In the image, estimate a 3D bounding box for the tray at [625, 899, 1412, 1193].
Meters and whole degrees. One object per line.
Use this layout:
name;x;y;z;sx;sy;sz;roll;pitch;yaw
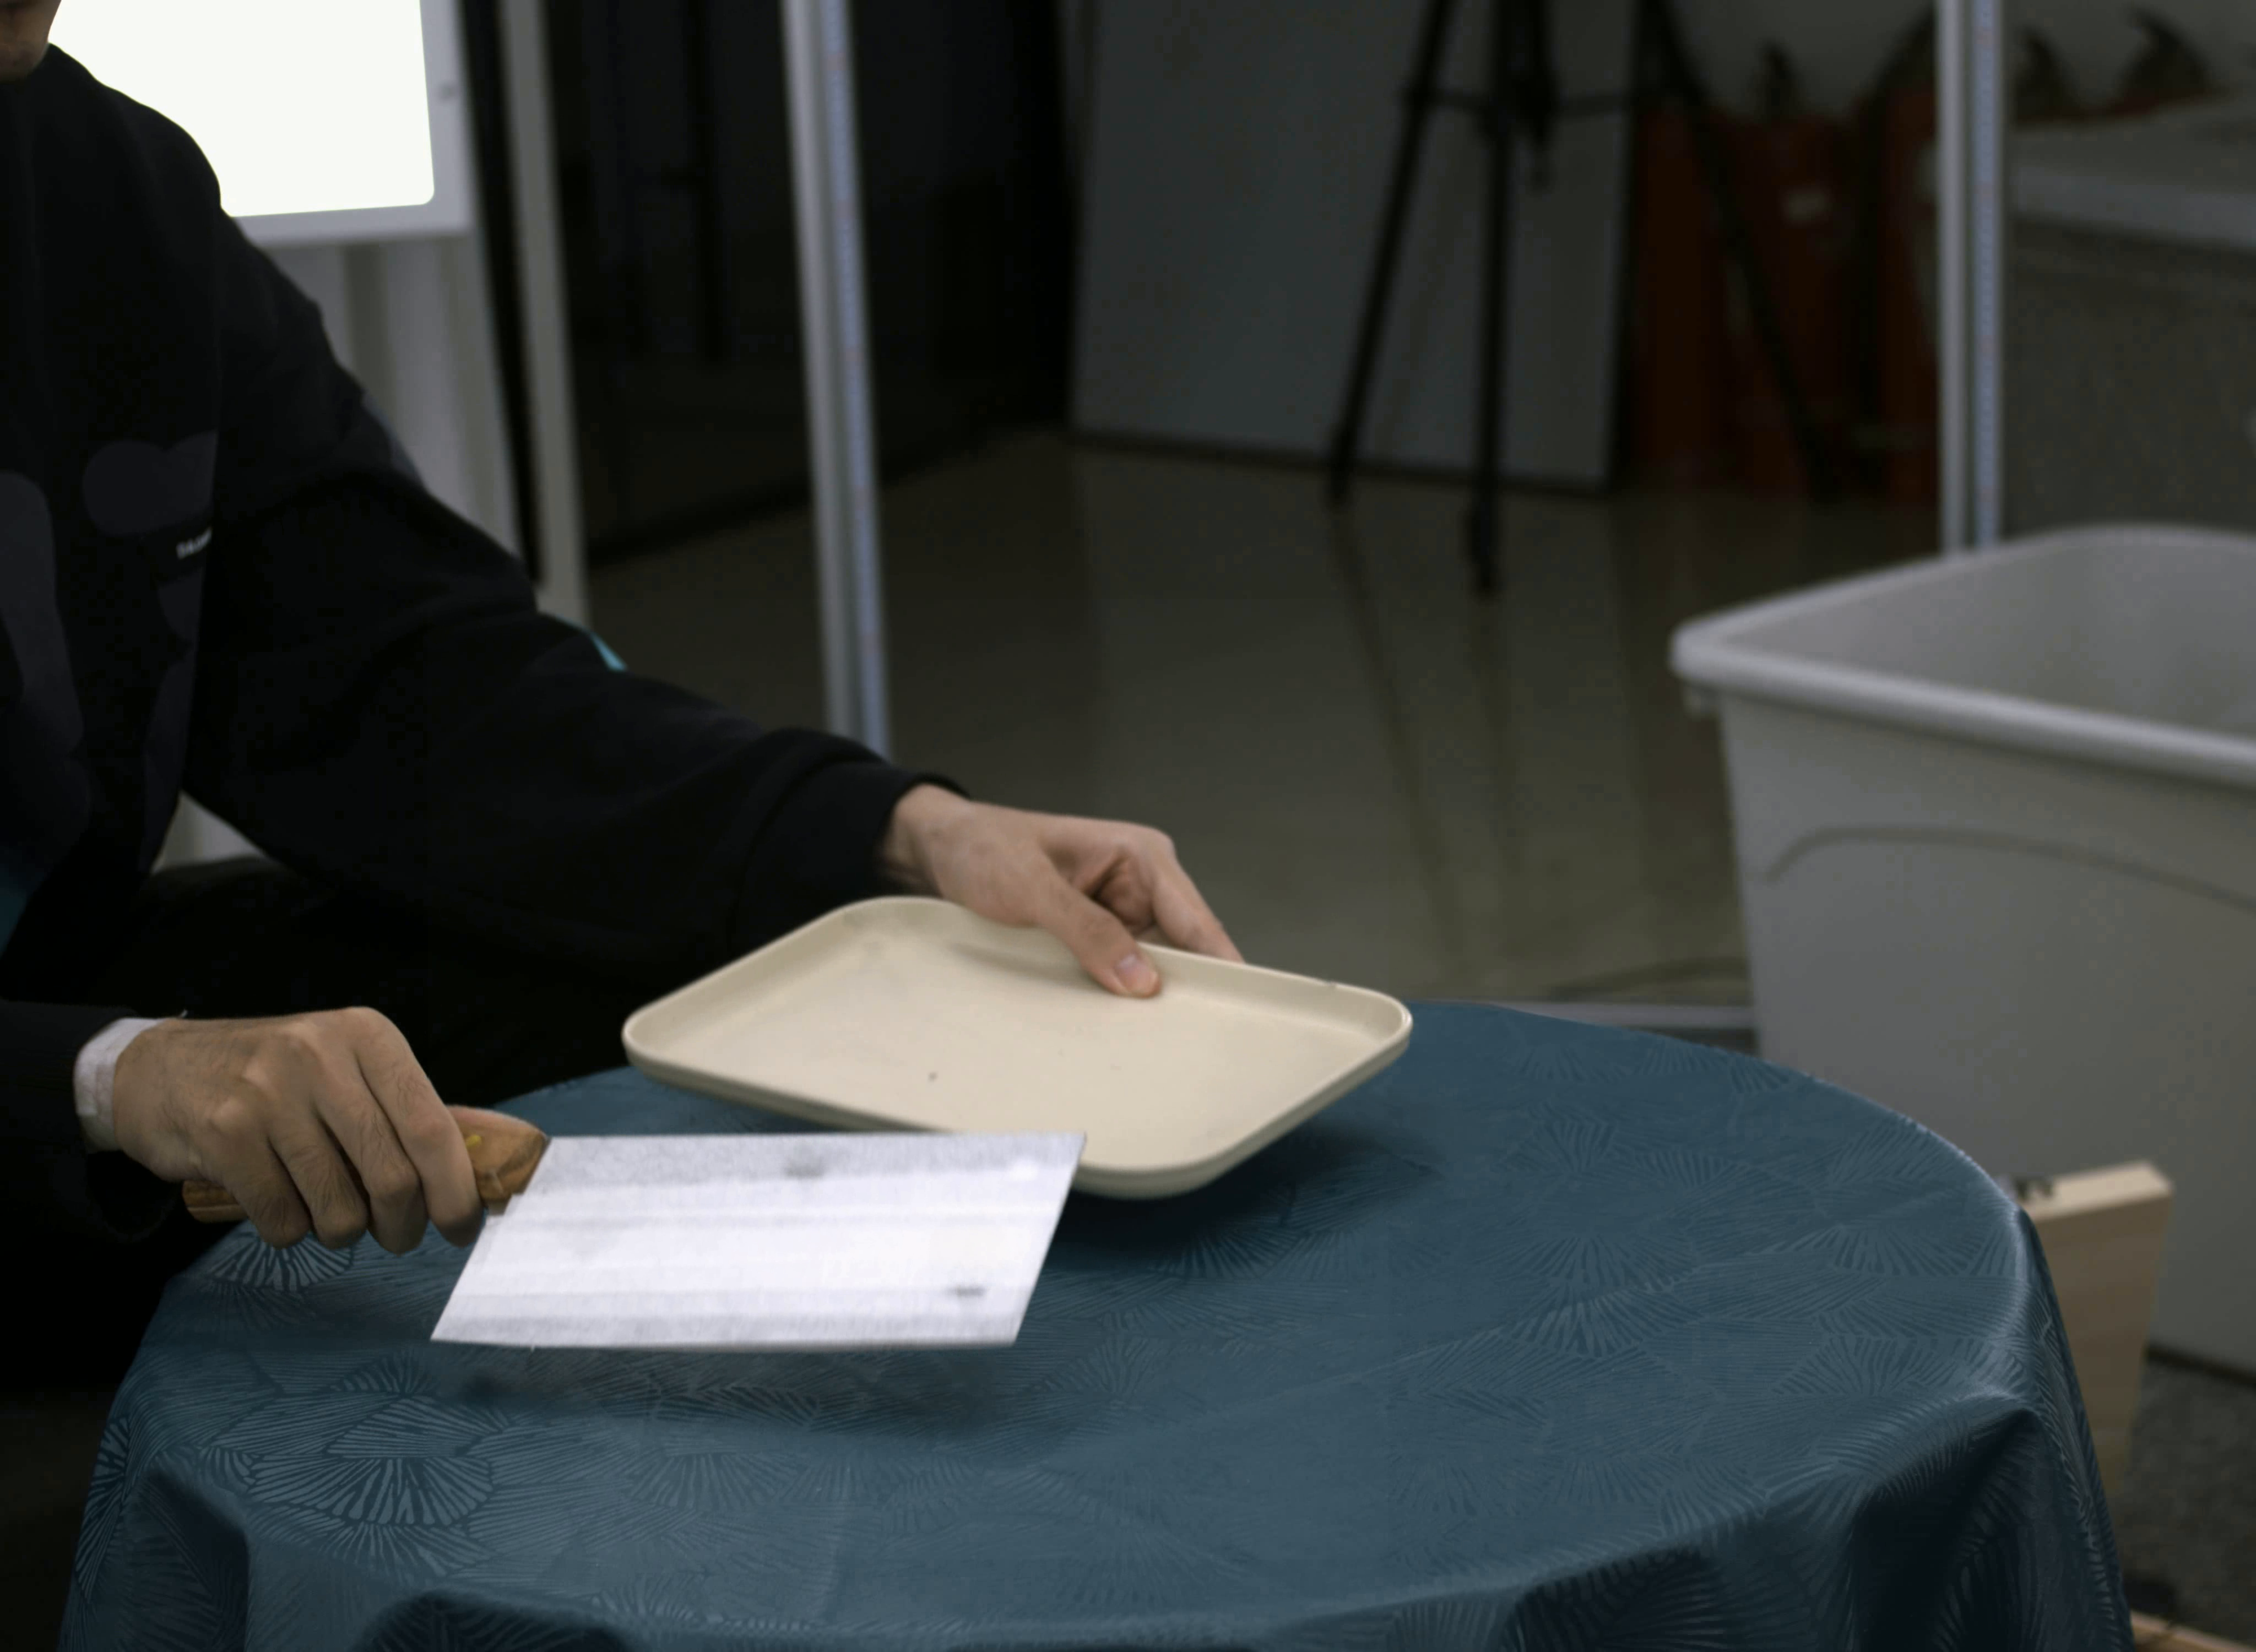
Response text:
tray;-0.037;0.073;1.807;0.241;0.017;0.168;11;23;34

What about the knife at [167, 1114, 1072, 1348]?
knife;-0.163;0.123;1.640;0.305;0.021;0.093;-3;40;21
